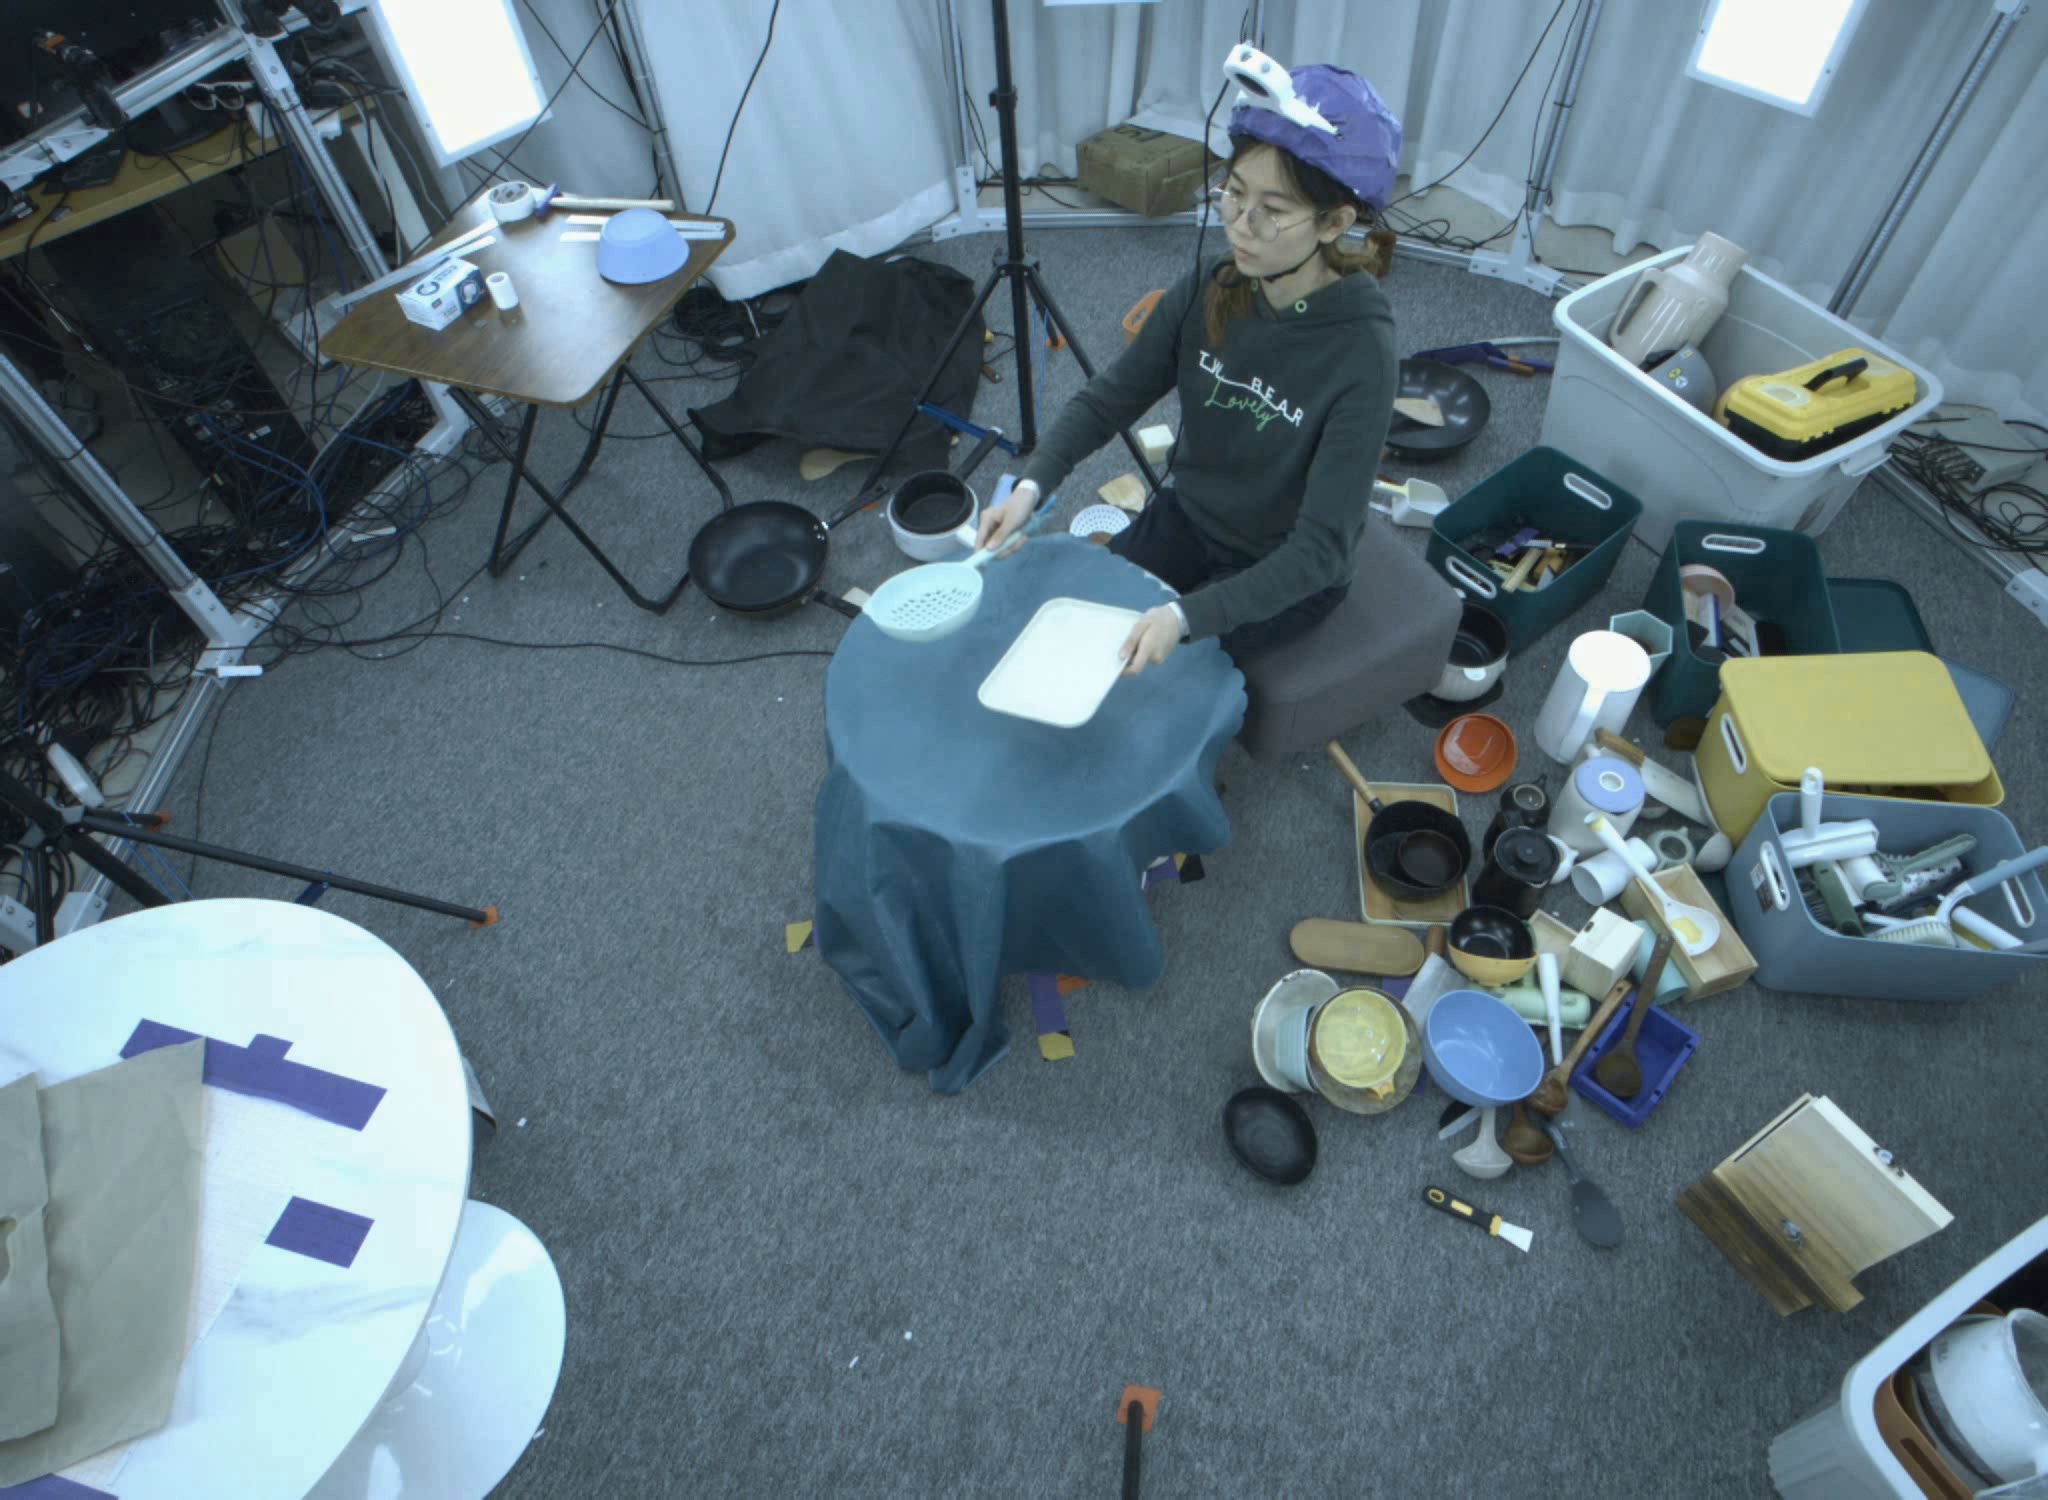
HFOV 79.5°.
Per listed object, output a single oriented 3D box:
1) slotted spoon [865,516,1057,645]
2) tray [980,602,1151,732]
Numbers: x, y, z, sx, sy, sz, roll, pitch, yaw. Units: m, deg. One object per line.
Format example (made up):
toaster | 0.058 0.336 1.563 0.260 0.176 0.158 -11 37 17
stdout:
slotted spoon | -0.073 -0.265 1.809 0.165 0.076 0.360 22 58 36
tray | 0.059 -0.116 1.686 0.168 0.018 0.240 15 50 24
